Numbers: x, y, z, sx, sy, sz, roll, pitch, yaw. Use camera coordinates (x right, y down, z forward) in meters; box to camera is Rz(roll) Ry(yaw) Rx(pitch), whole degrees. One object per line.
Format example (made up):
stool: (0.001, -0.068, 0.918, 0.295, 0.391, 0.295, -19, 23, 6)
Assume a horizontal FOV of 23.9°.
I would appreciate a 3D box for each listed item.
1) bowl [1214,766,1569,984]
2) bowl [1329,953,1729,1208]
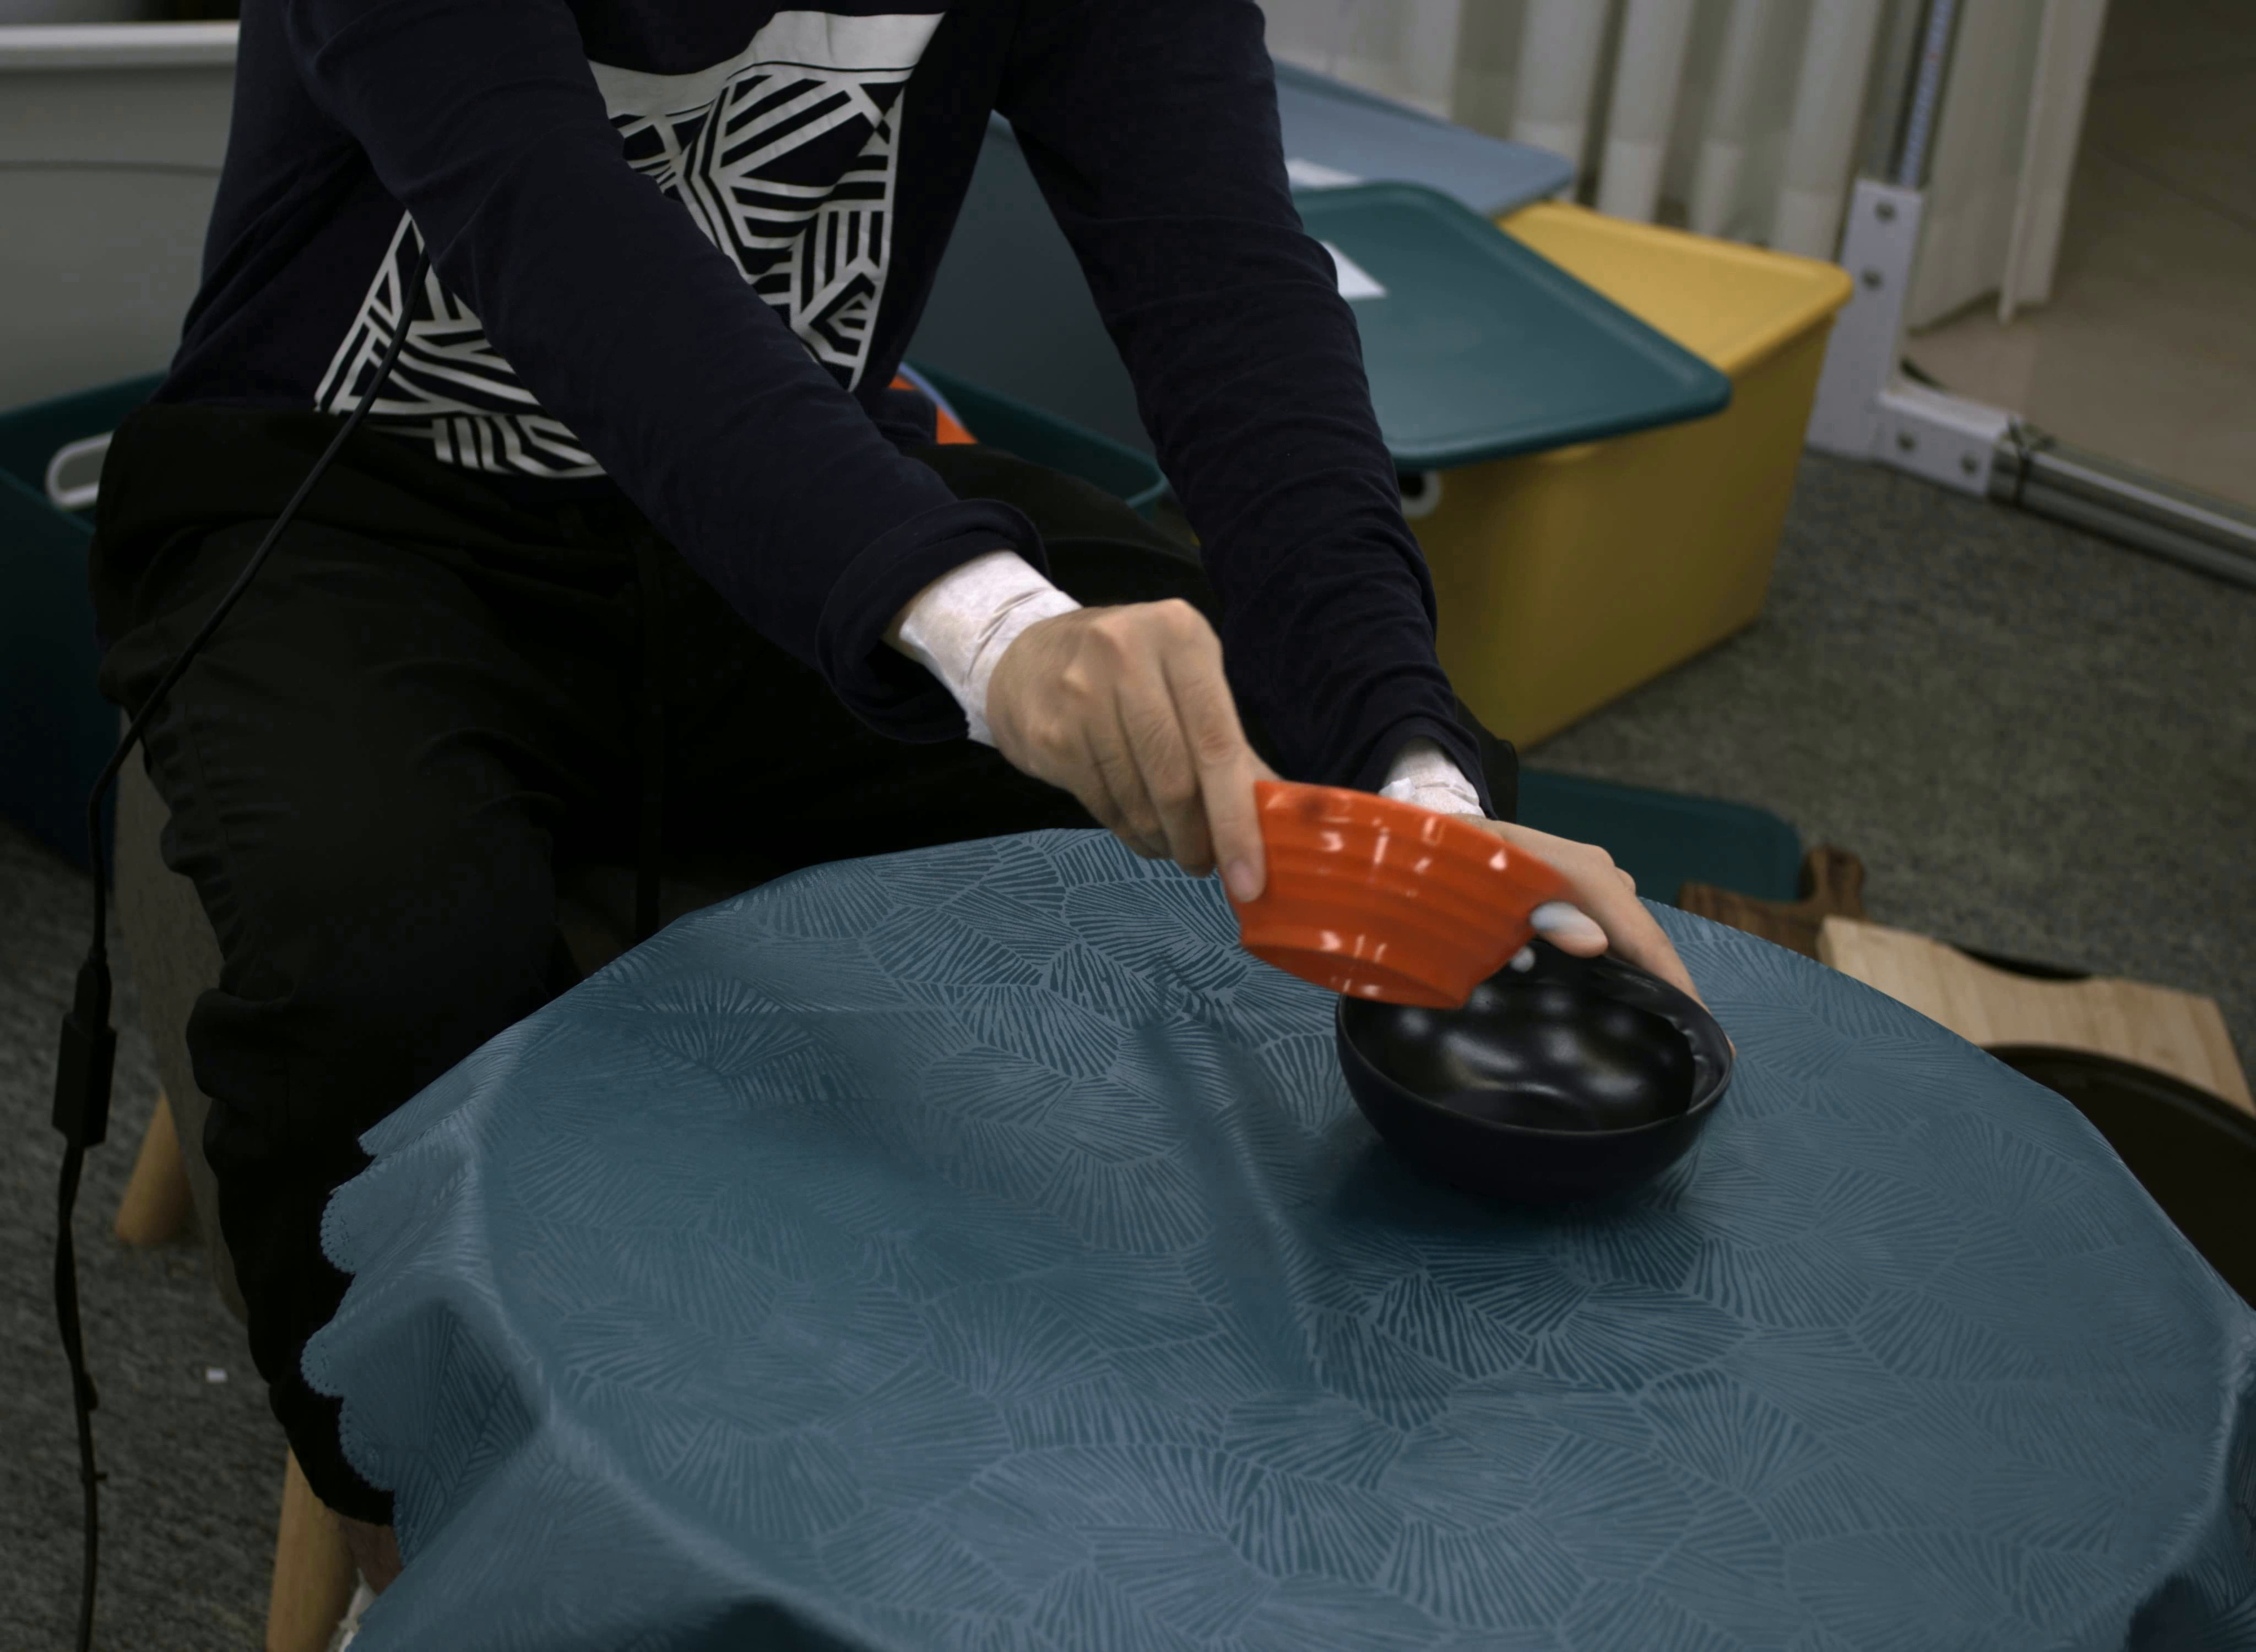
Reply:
bowl: (0.081, 0.019, 1.748, 0.118, 0.051, 0.119, 13, -5, 1)
bowl: (0.137, 0.095, 1.846, 0.139, 0.049, 0.141, 3, 23, -2)
